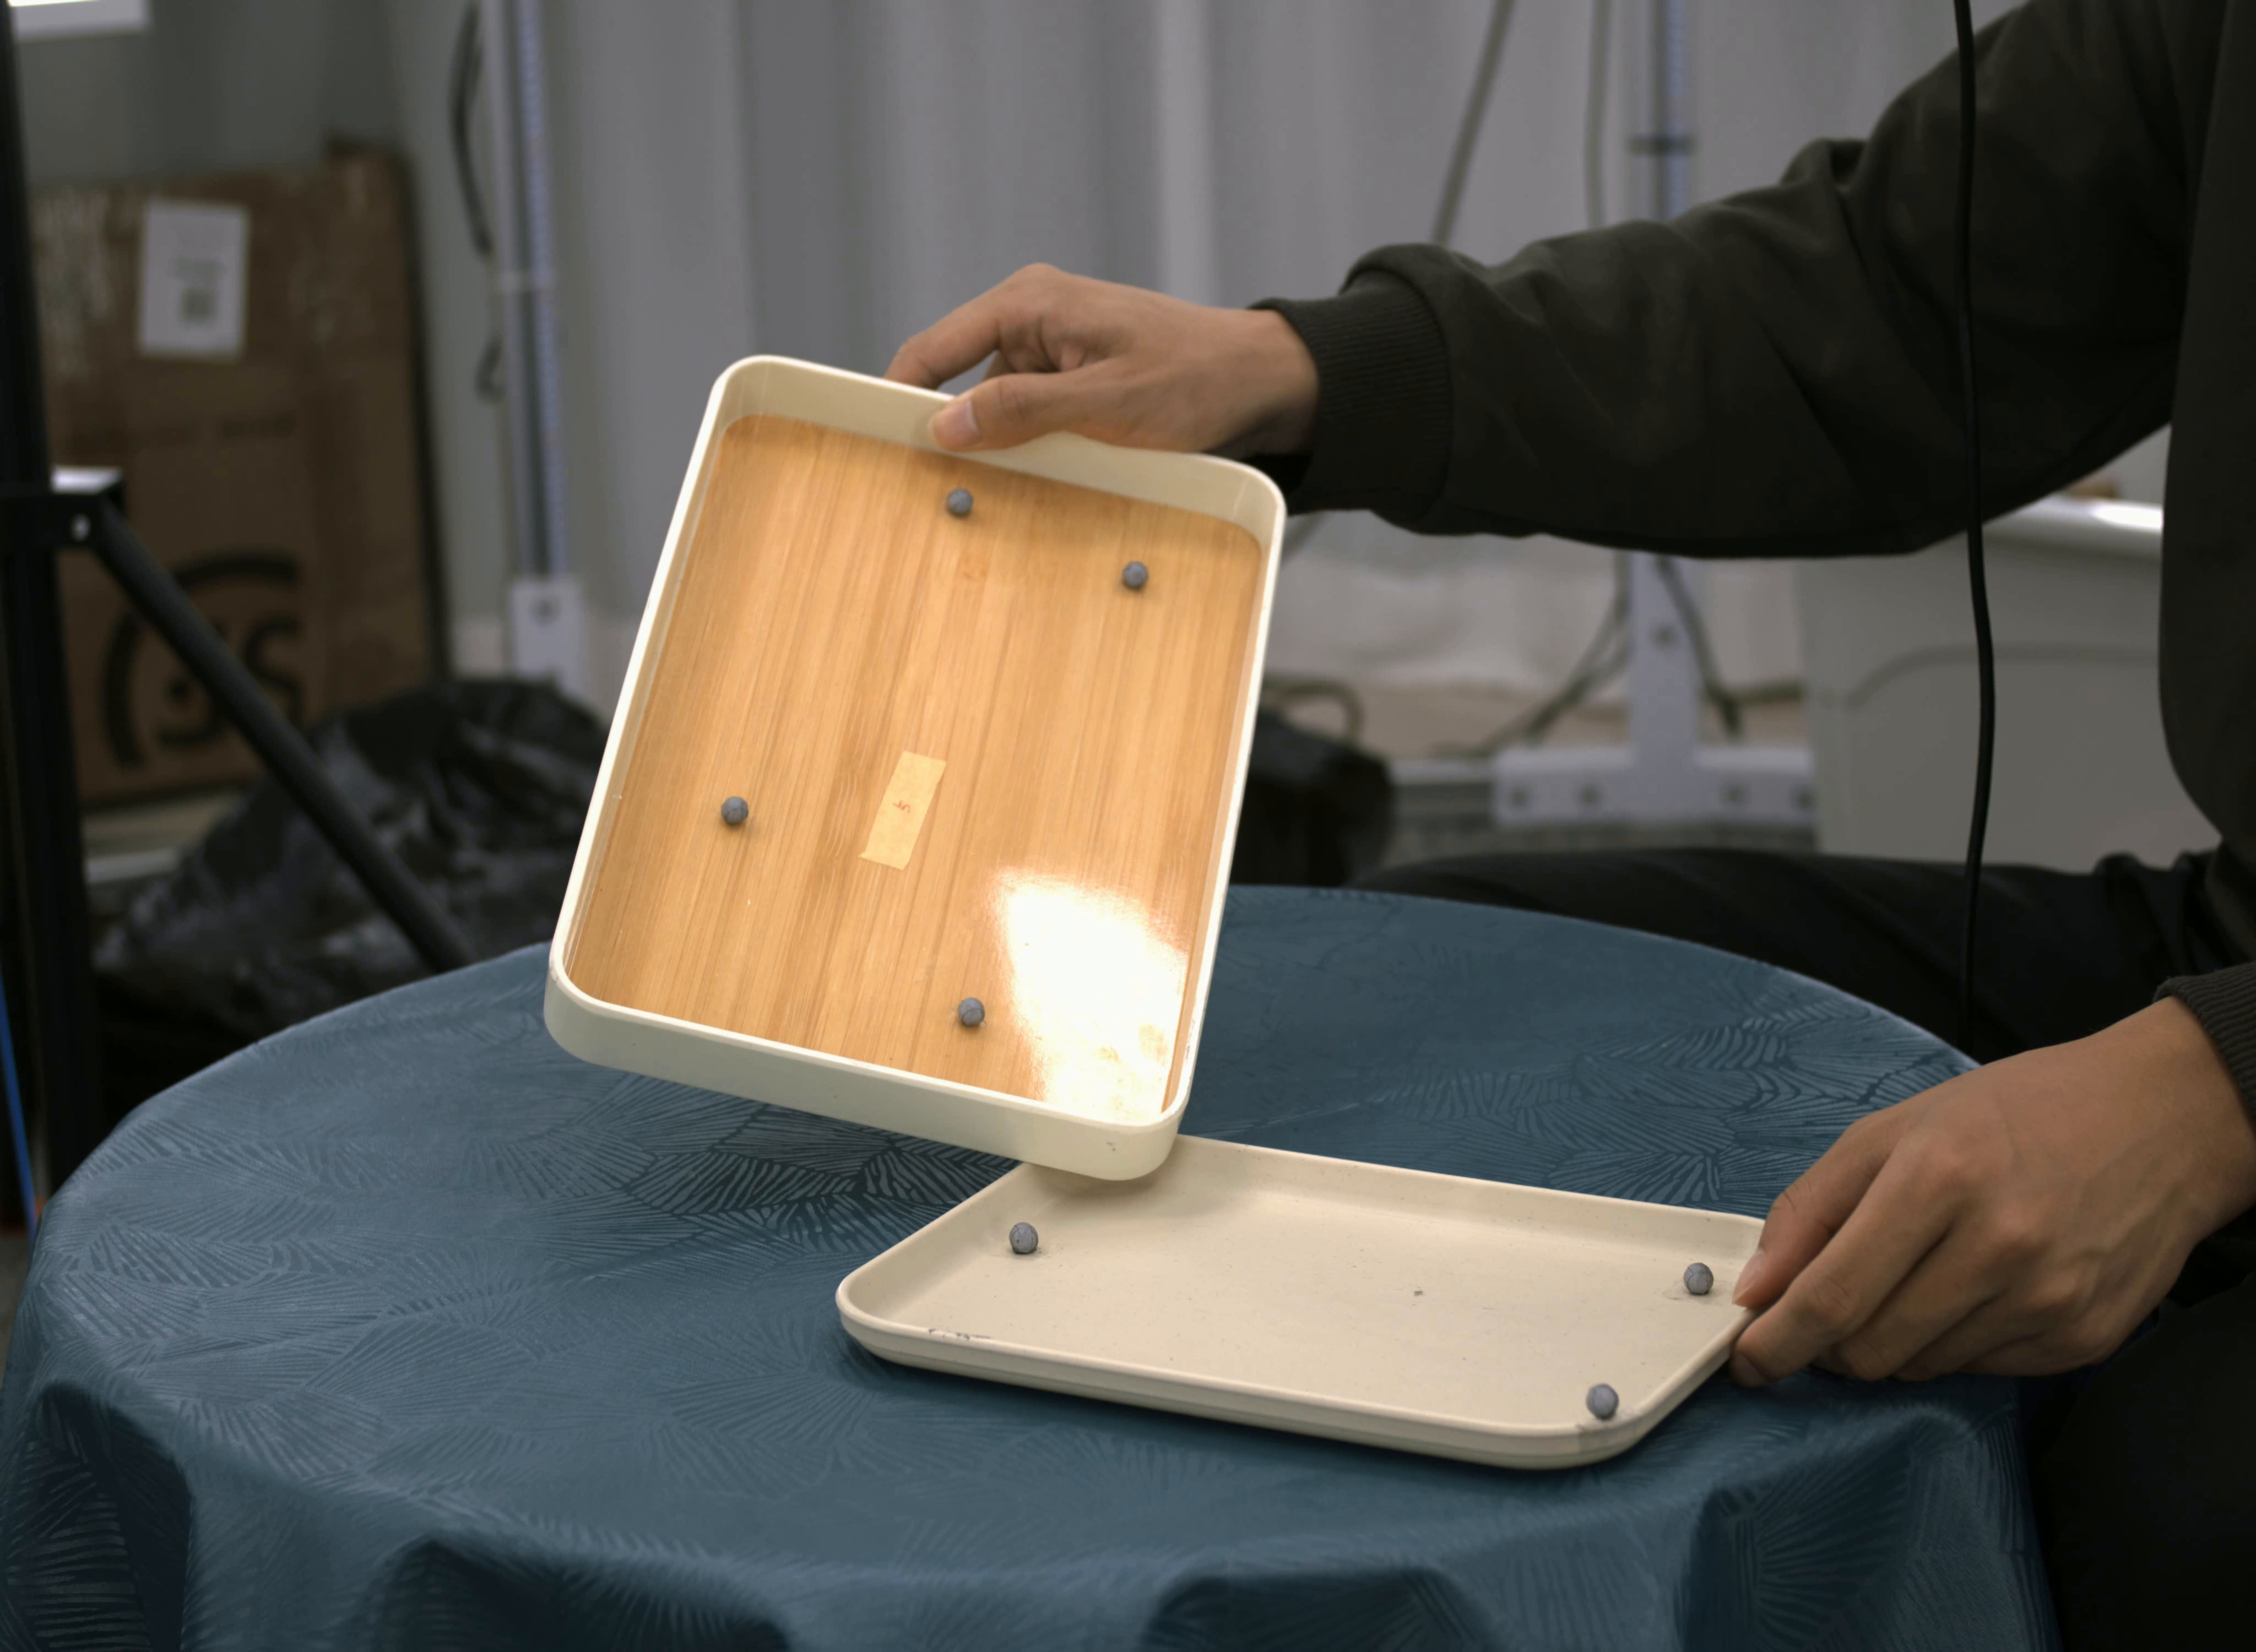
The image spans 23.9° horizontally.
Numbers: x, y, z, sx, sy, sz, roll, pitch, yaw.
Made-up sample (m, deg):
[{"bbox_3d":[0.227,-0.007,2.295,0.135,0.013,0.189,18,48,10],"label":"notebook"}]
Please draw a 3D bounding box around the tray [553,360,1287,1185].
[{"bbox_3d":[-0.058,-0.023,1.640,0.190,0.027,0.302,12,44,-1],"label":"tray"}]

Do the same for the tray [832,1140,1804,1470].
[{"bbox_3d":[0.053,0.129,1.447,0.244,0.017,0.168,6,17,28],"label":"tray"}]
